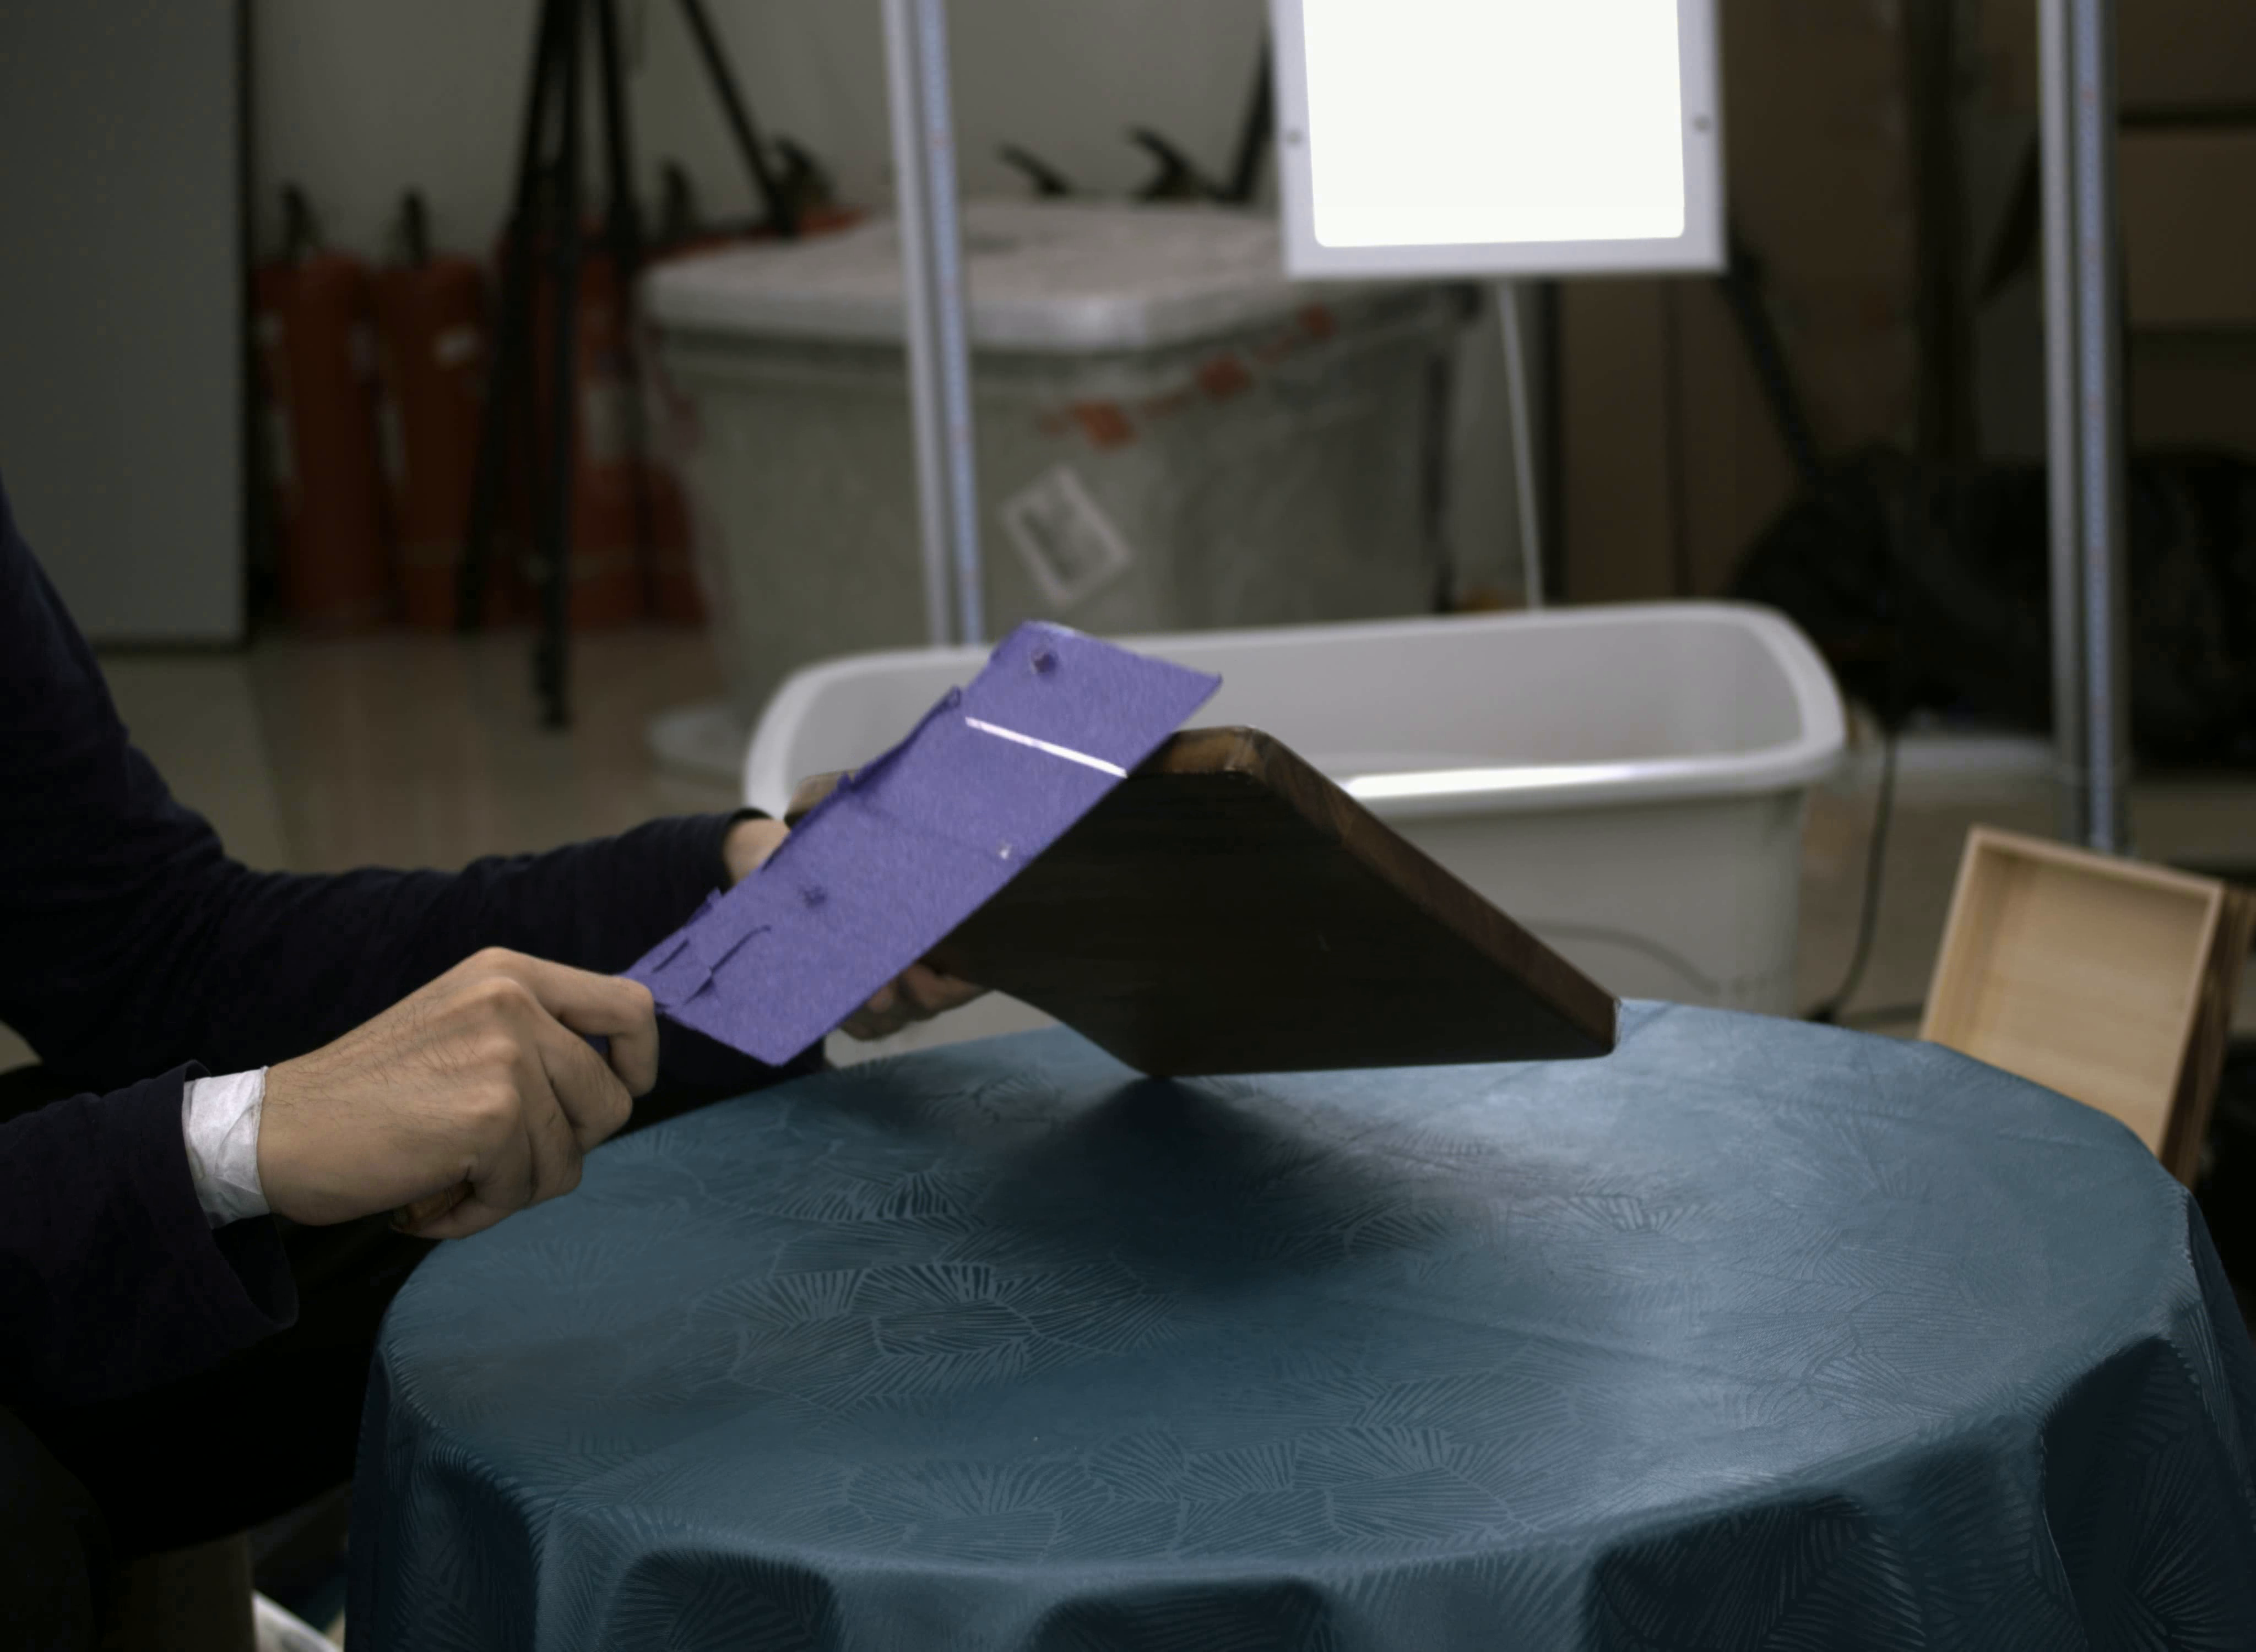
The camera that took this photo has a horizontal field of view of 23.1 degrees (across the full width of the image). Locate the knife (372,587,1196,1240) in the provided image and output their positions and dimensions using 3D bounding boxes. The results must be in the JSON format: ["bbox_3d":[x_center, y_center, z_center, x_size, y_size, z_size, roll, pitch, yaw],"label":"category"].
[{"bbox_3d":[-0.105,0.027,1.760,0.311,0.032,0.106,-44,38,-22],"label":"knife"}]

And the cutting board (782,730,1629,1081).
[{"bbox_3d":[-0.007,0.035,1.938,0.198,0.023,0.360,36,-25,-31],"label":"cutting board"}]
